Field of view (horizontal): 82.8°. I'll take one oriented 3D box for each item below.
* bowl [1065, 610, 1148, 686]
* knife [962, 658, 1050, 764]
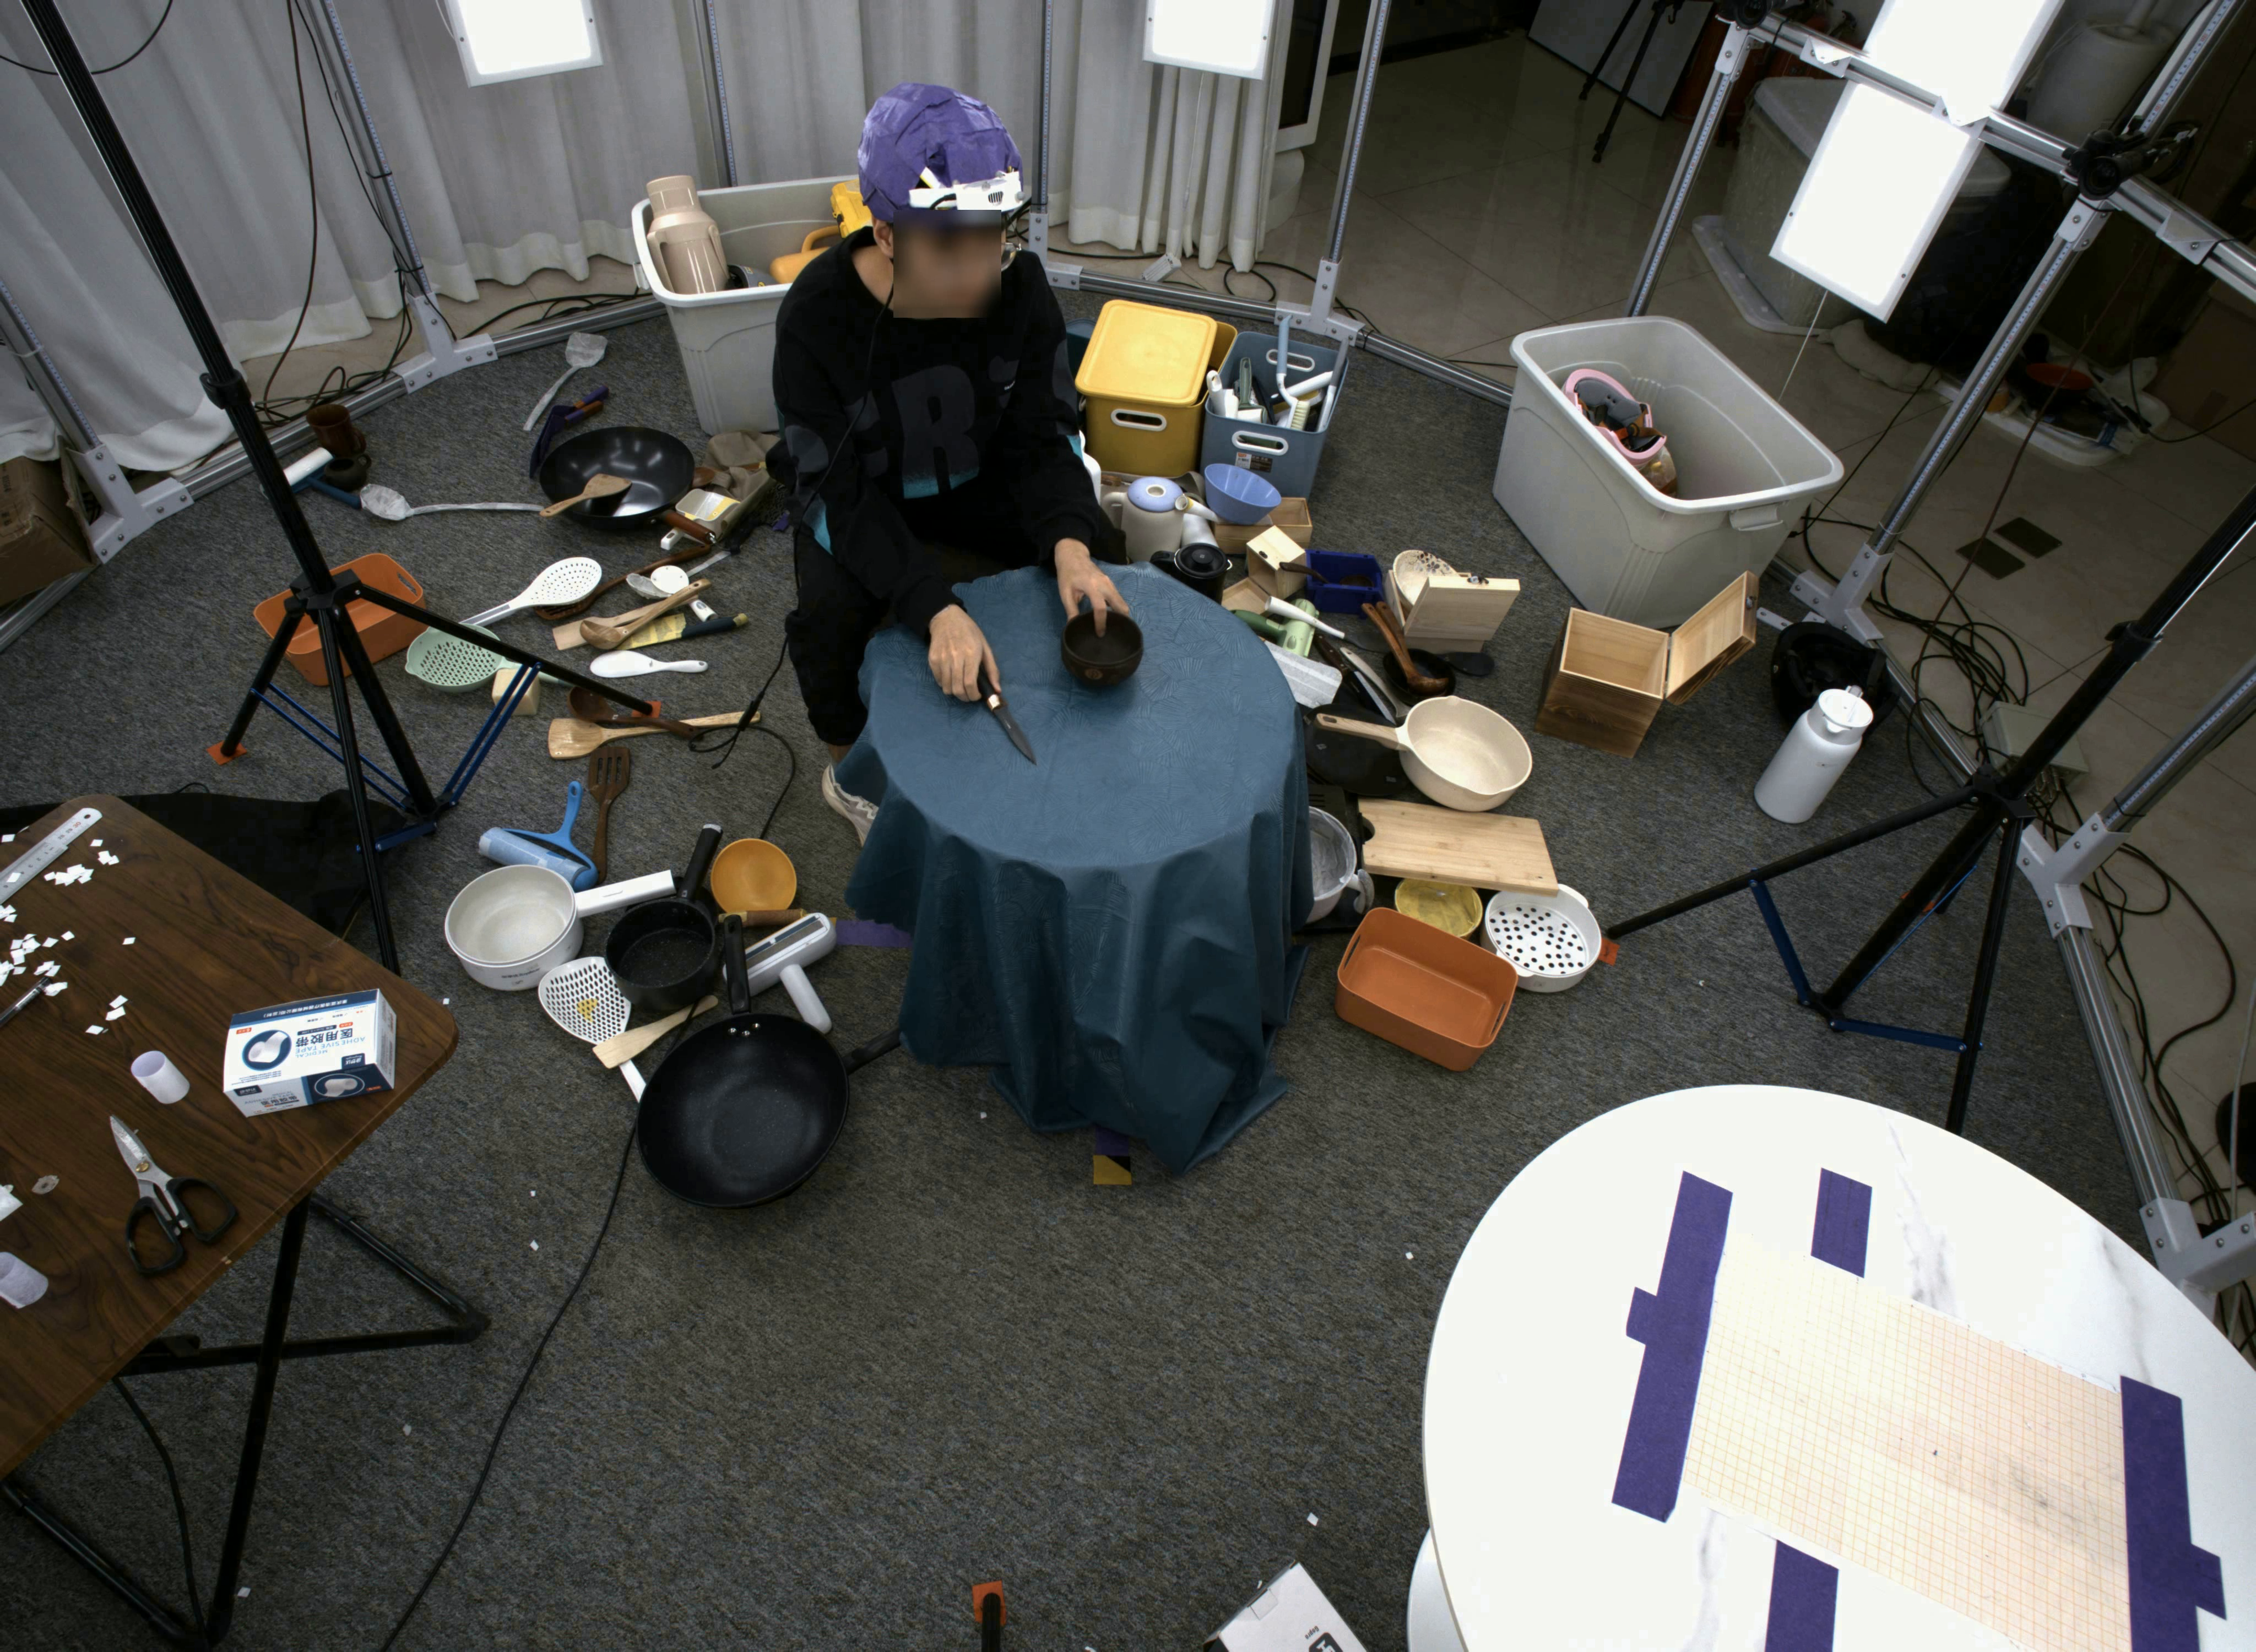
[{"bbox_3d":[-0.031,-0.245,1.831,0.118,0.068,0.121,3,47,-3],"label":"bowl"},{"bbox_3d":[-0.172,-0.161,1.790,0.026,0.017,0.230,-18,54,-29],"label":"knife"}]
